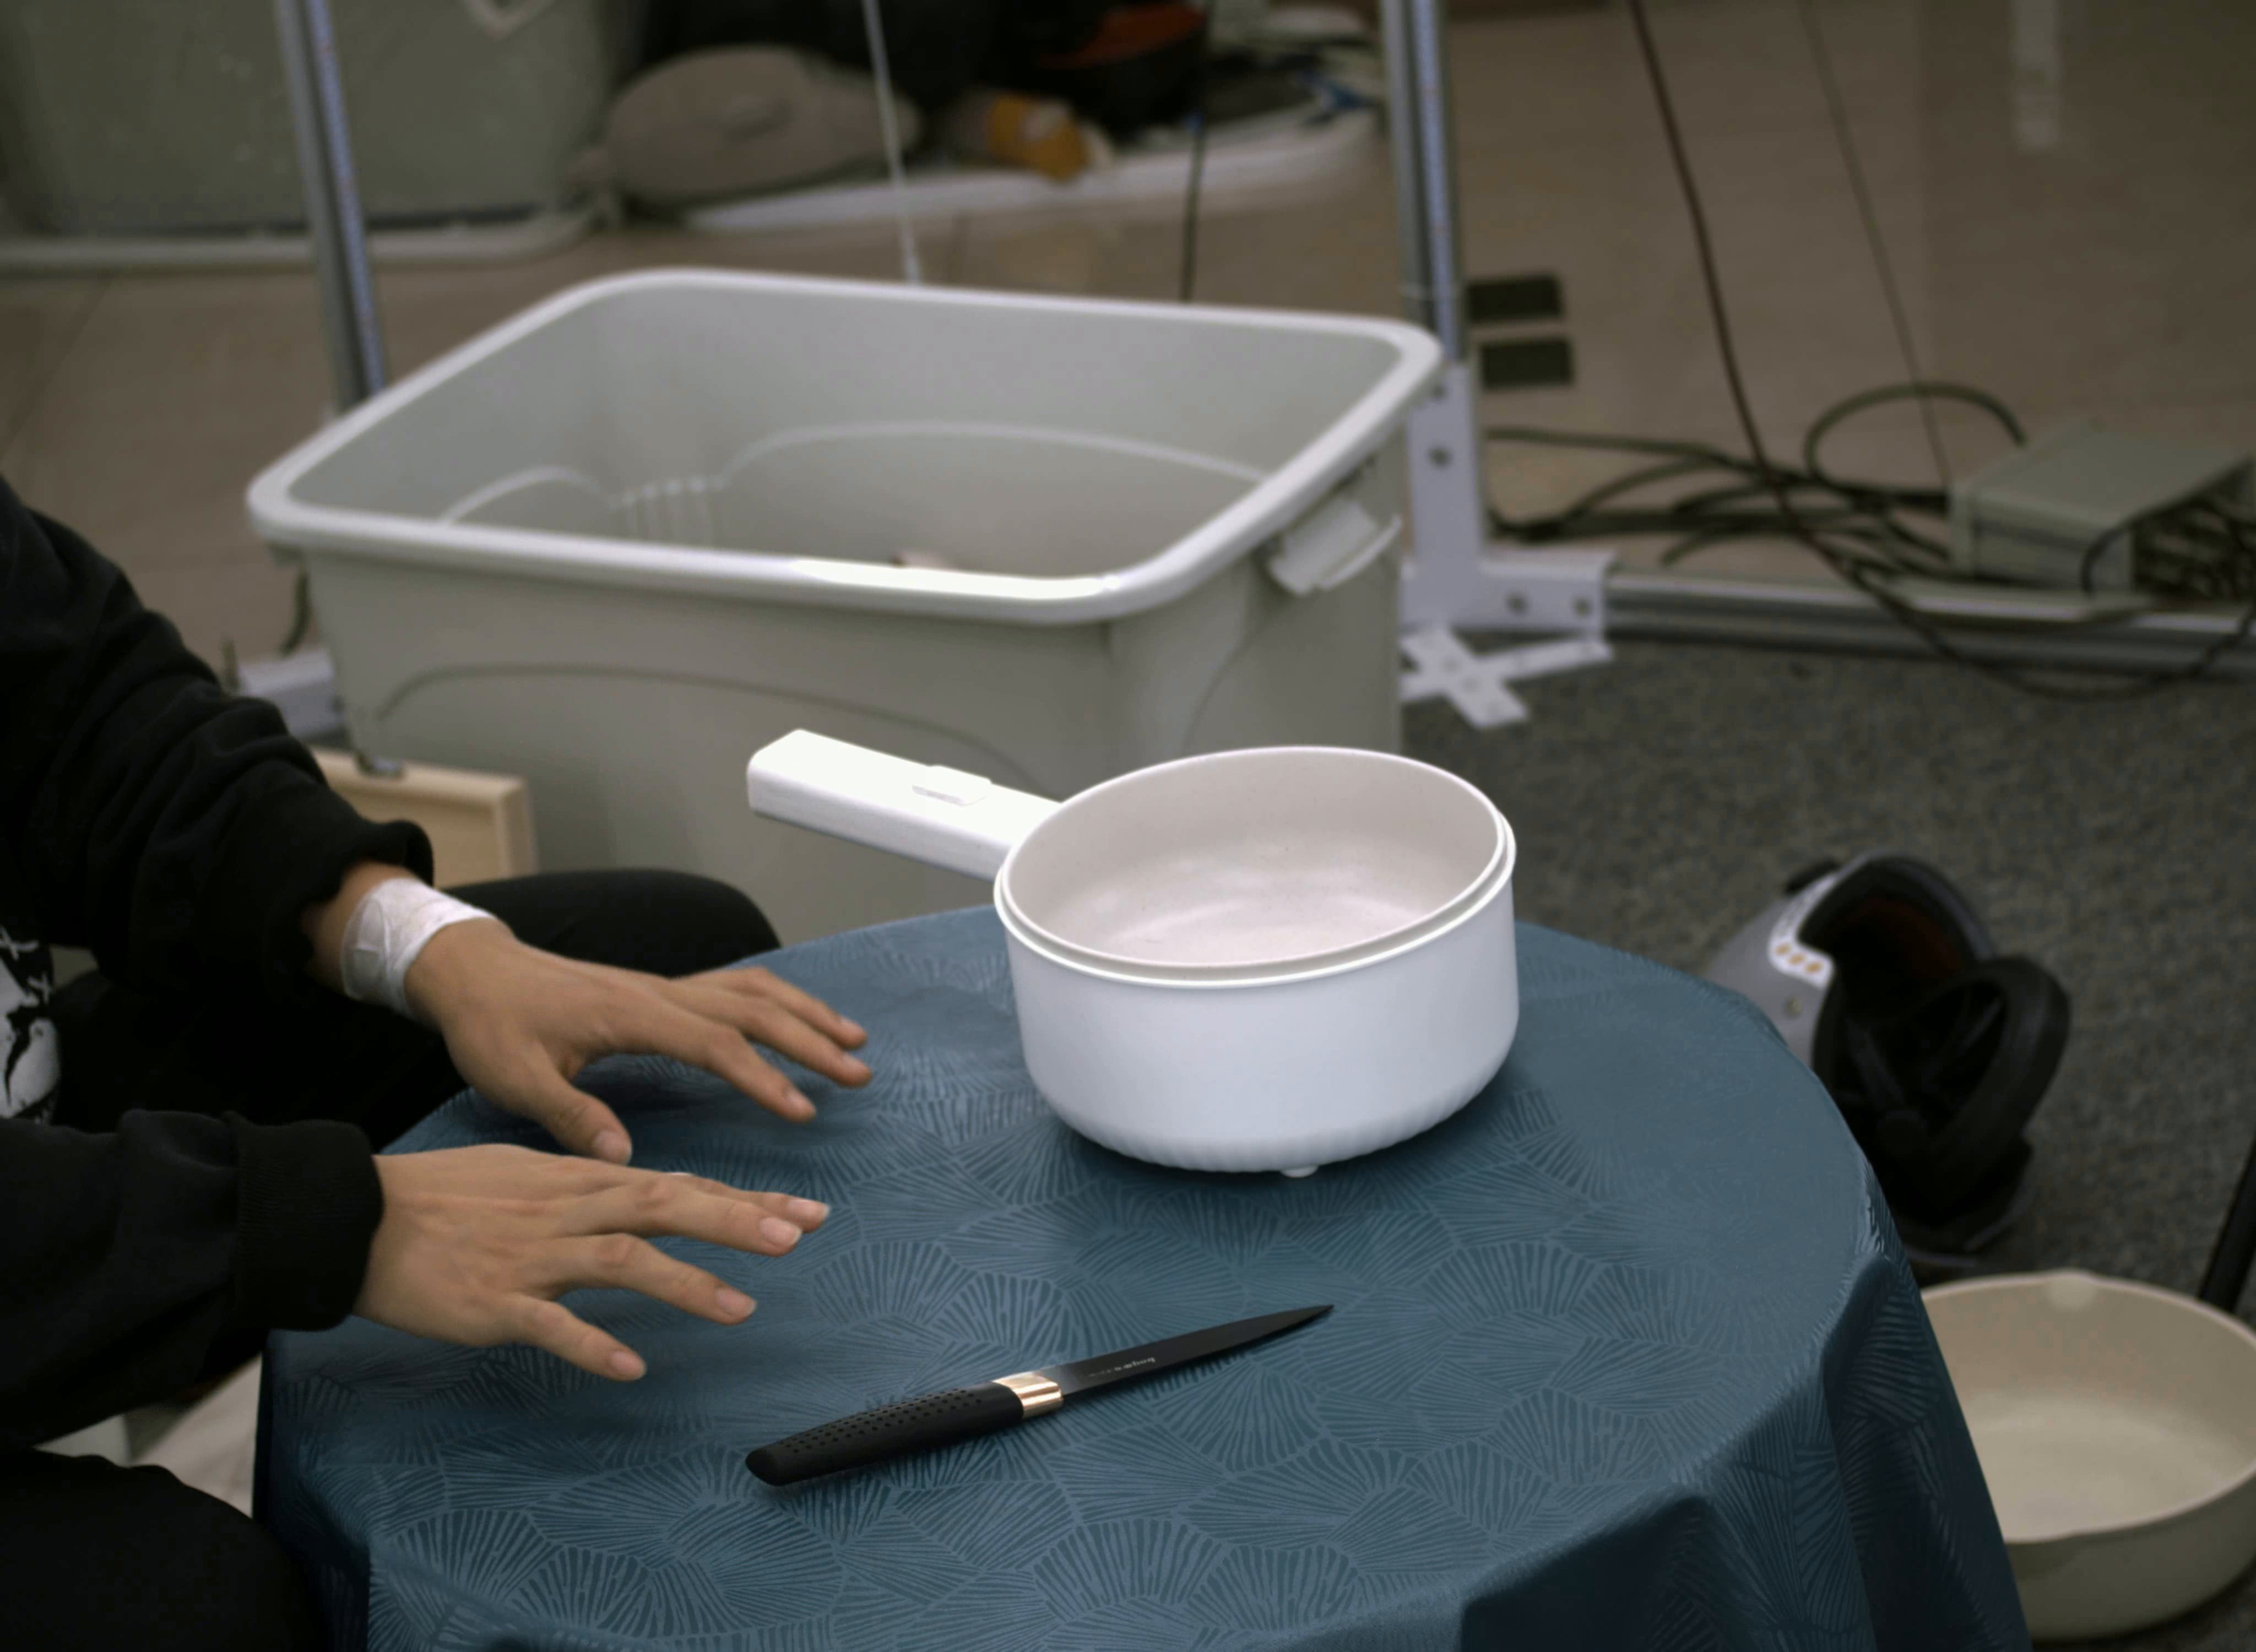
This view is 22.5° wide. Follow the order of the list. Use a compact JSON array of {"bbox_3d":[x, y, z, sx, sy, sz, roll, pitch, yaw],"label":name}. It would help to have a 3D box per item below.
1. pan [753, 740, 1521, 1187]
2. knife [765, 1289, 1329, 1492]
[{"bbox_3d":[-0.005,0.045,2.242,0.352,0.104,0.199,14,34,38],"label":"pan"},{"bbox_3d":[-0.027,0.198,2.018,0.224,0.017,0.026,-15,15,-20],"label":"knife"}]
